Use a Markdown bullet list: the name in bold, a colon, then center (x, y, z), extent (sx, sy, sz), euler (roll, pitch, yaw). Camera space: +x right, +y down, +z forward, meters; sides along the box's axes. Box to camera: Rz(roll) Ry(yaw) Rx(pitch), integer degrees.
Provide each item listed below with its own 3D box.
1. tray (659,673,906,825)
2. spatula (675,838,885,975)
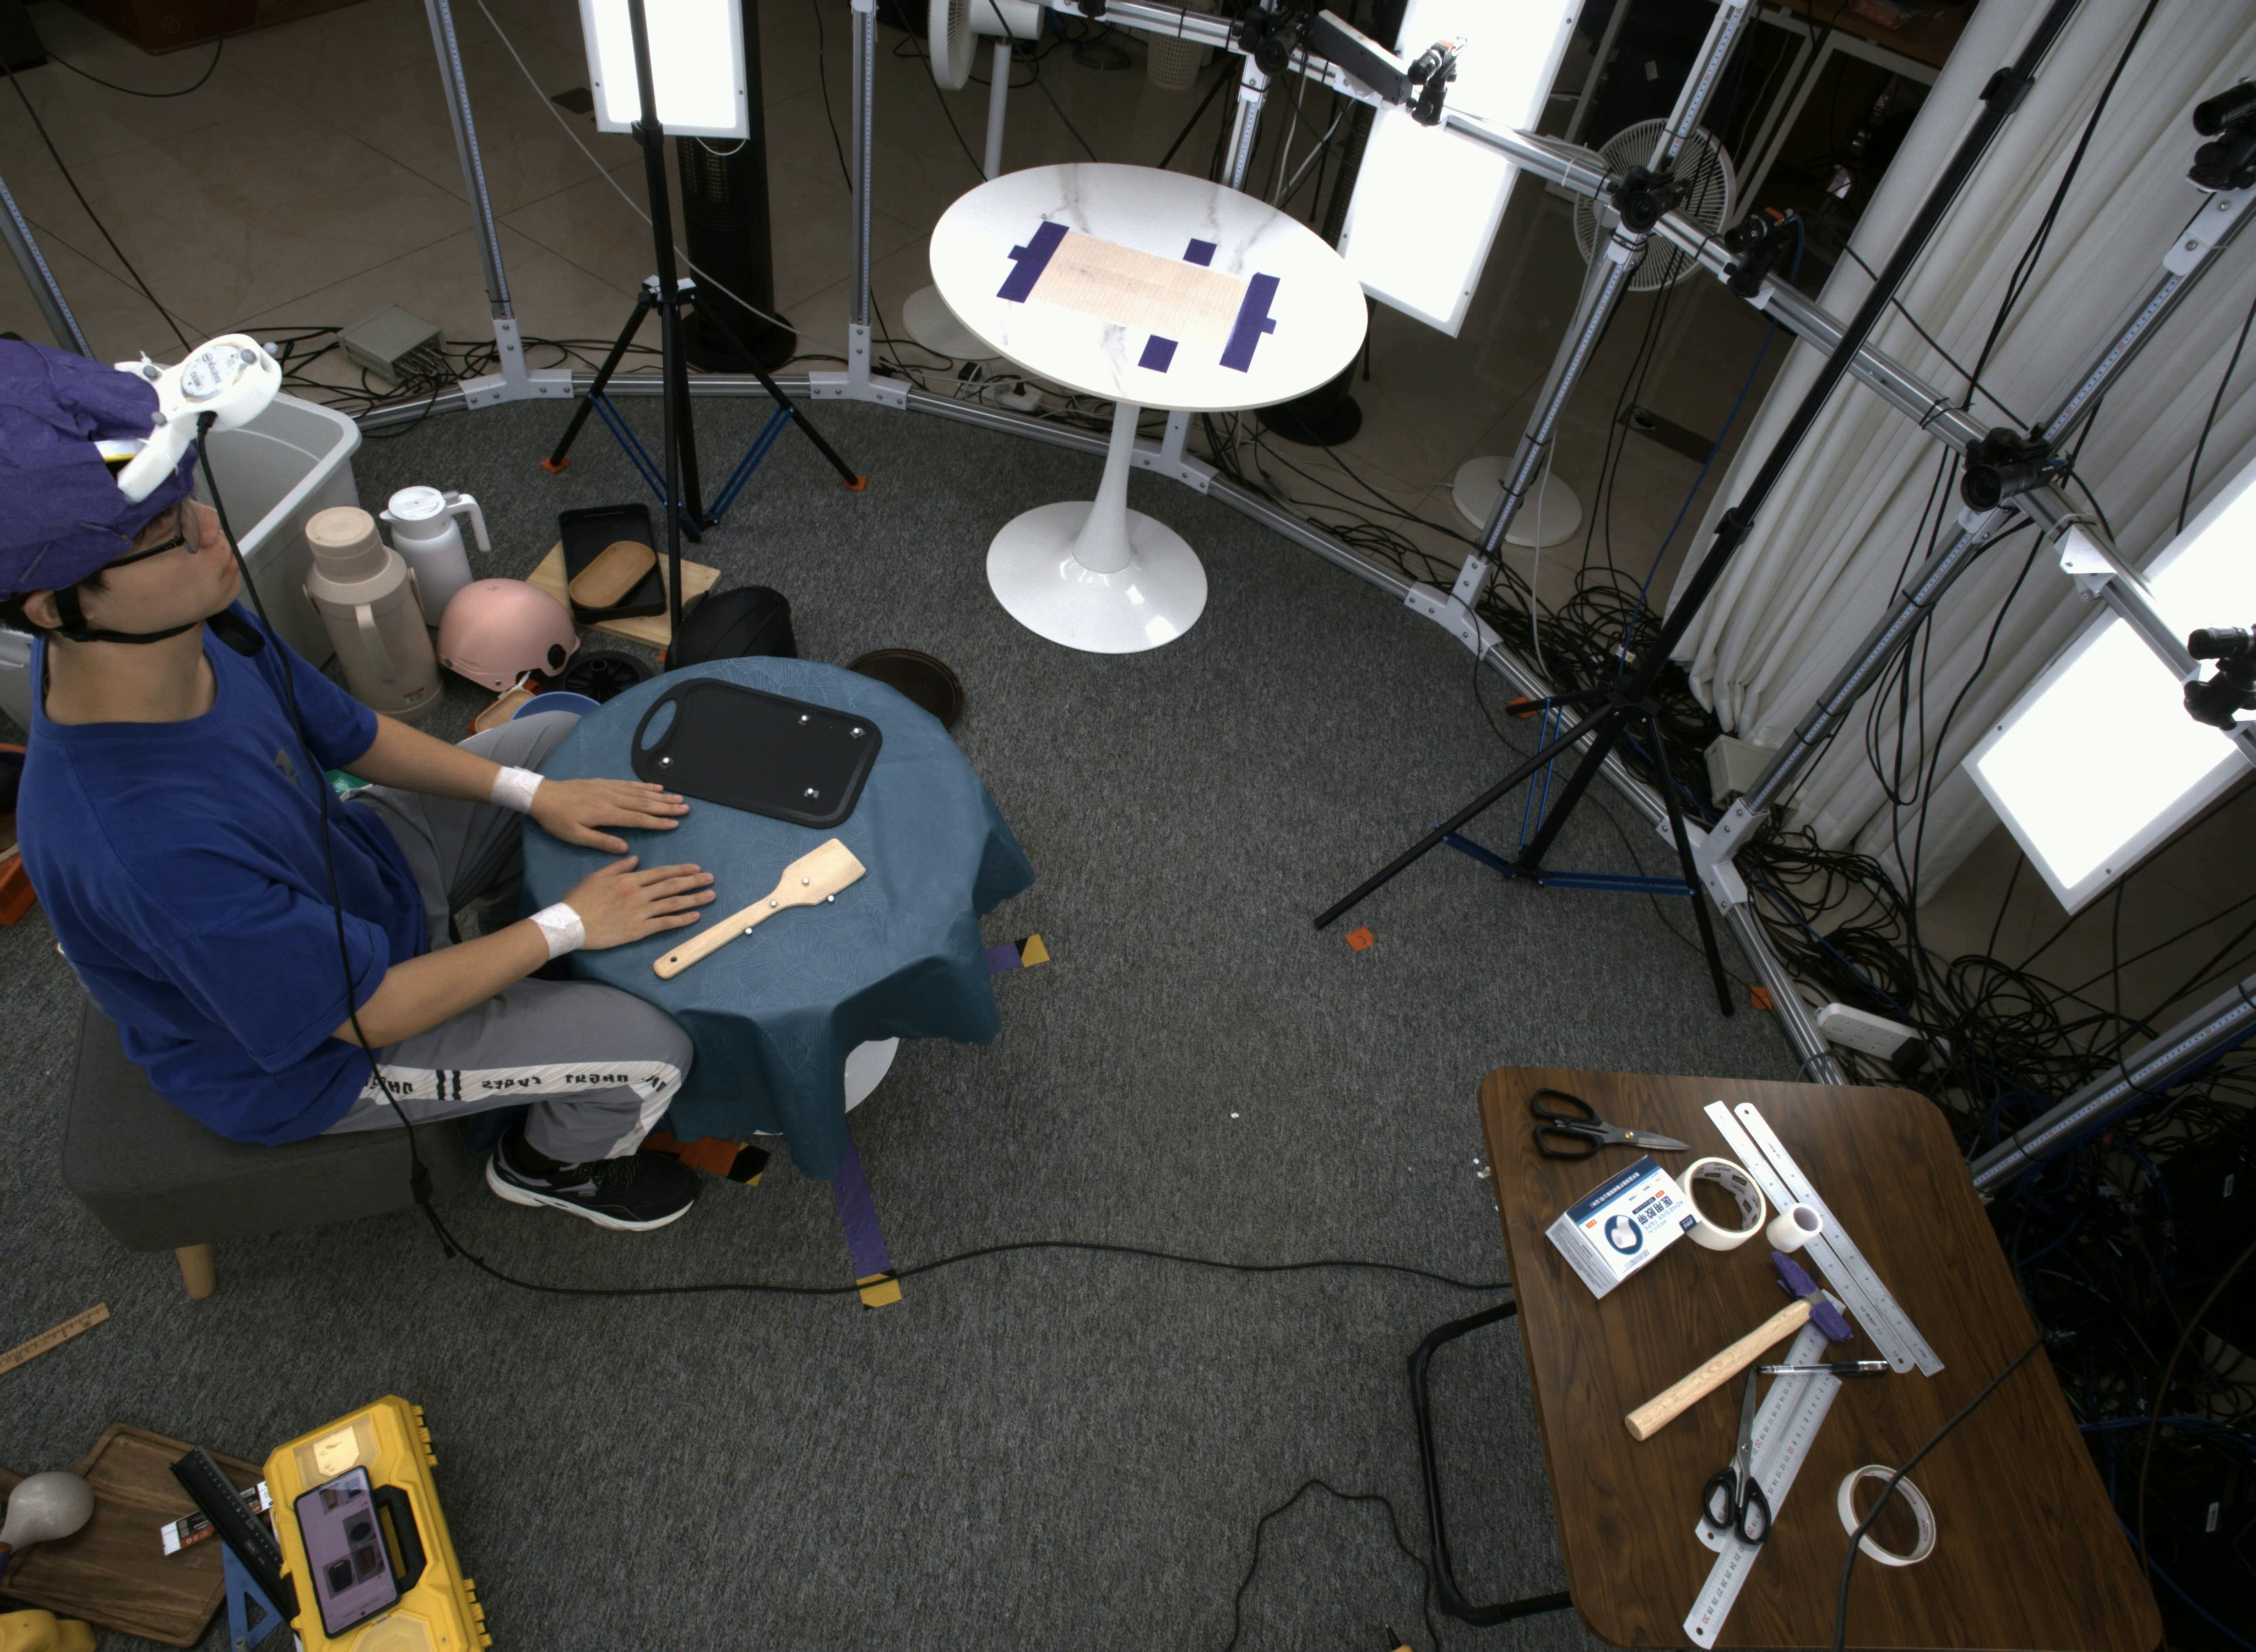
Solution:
- **tray**: center (-0.485, -0.113, 1.798), extent (0.323, 0.010, 0.208), euler (17, 52, -2)
- **spatula**: center (-0.443, 0.105, 1.646), extent (0.294, 0.011, 0.071), euler (-33, 69, -32)
